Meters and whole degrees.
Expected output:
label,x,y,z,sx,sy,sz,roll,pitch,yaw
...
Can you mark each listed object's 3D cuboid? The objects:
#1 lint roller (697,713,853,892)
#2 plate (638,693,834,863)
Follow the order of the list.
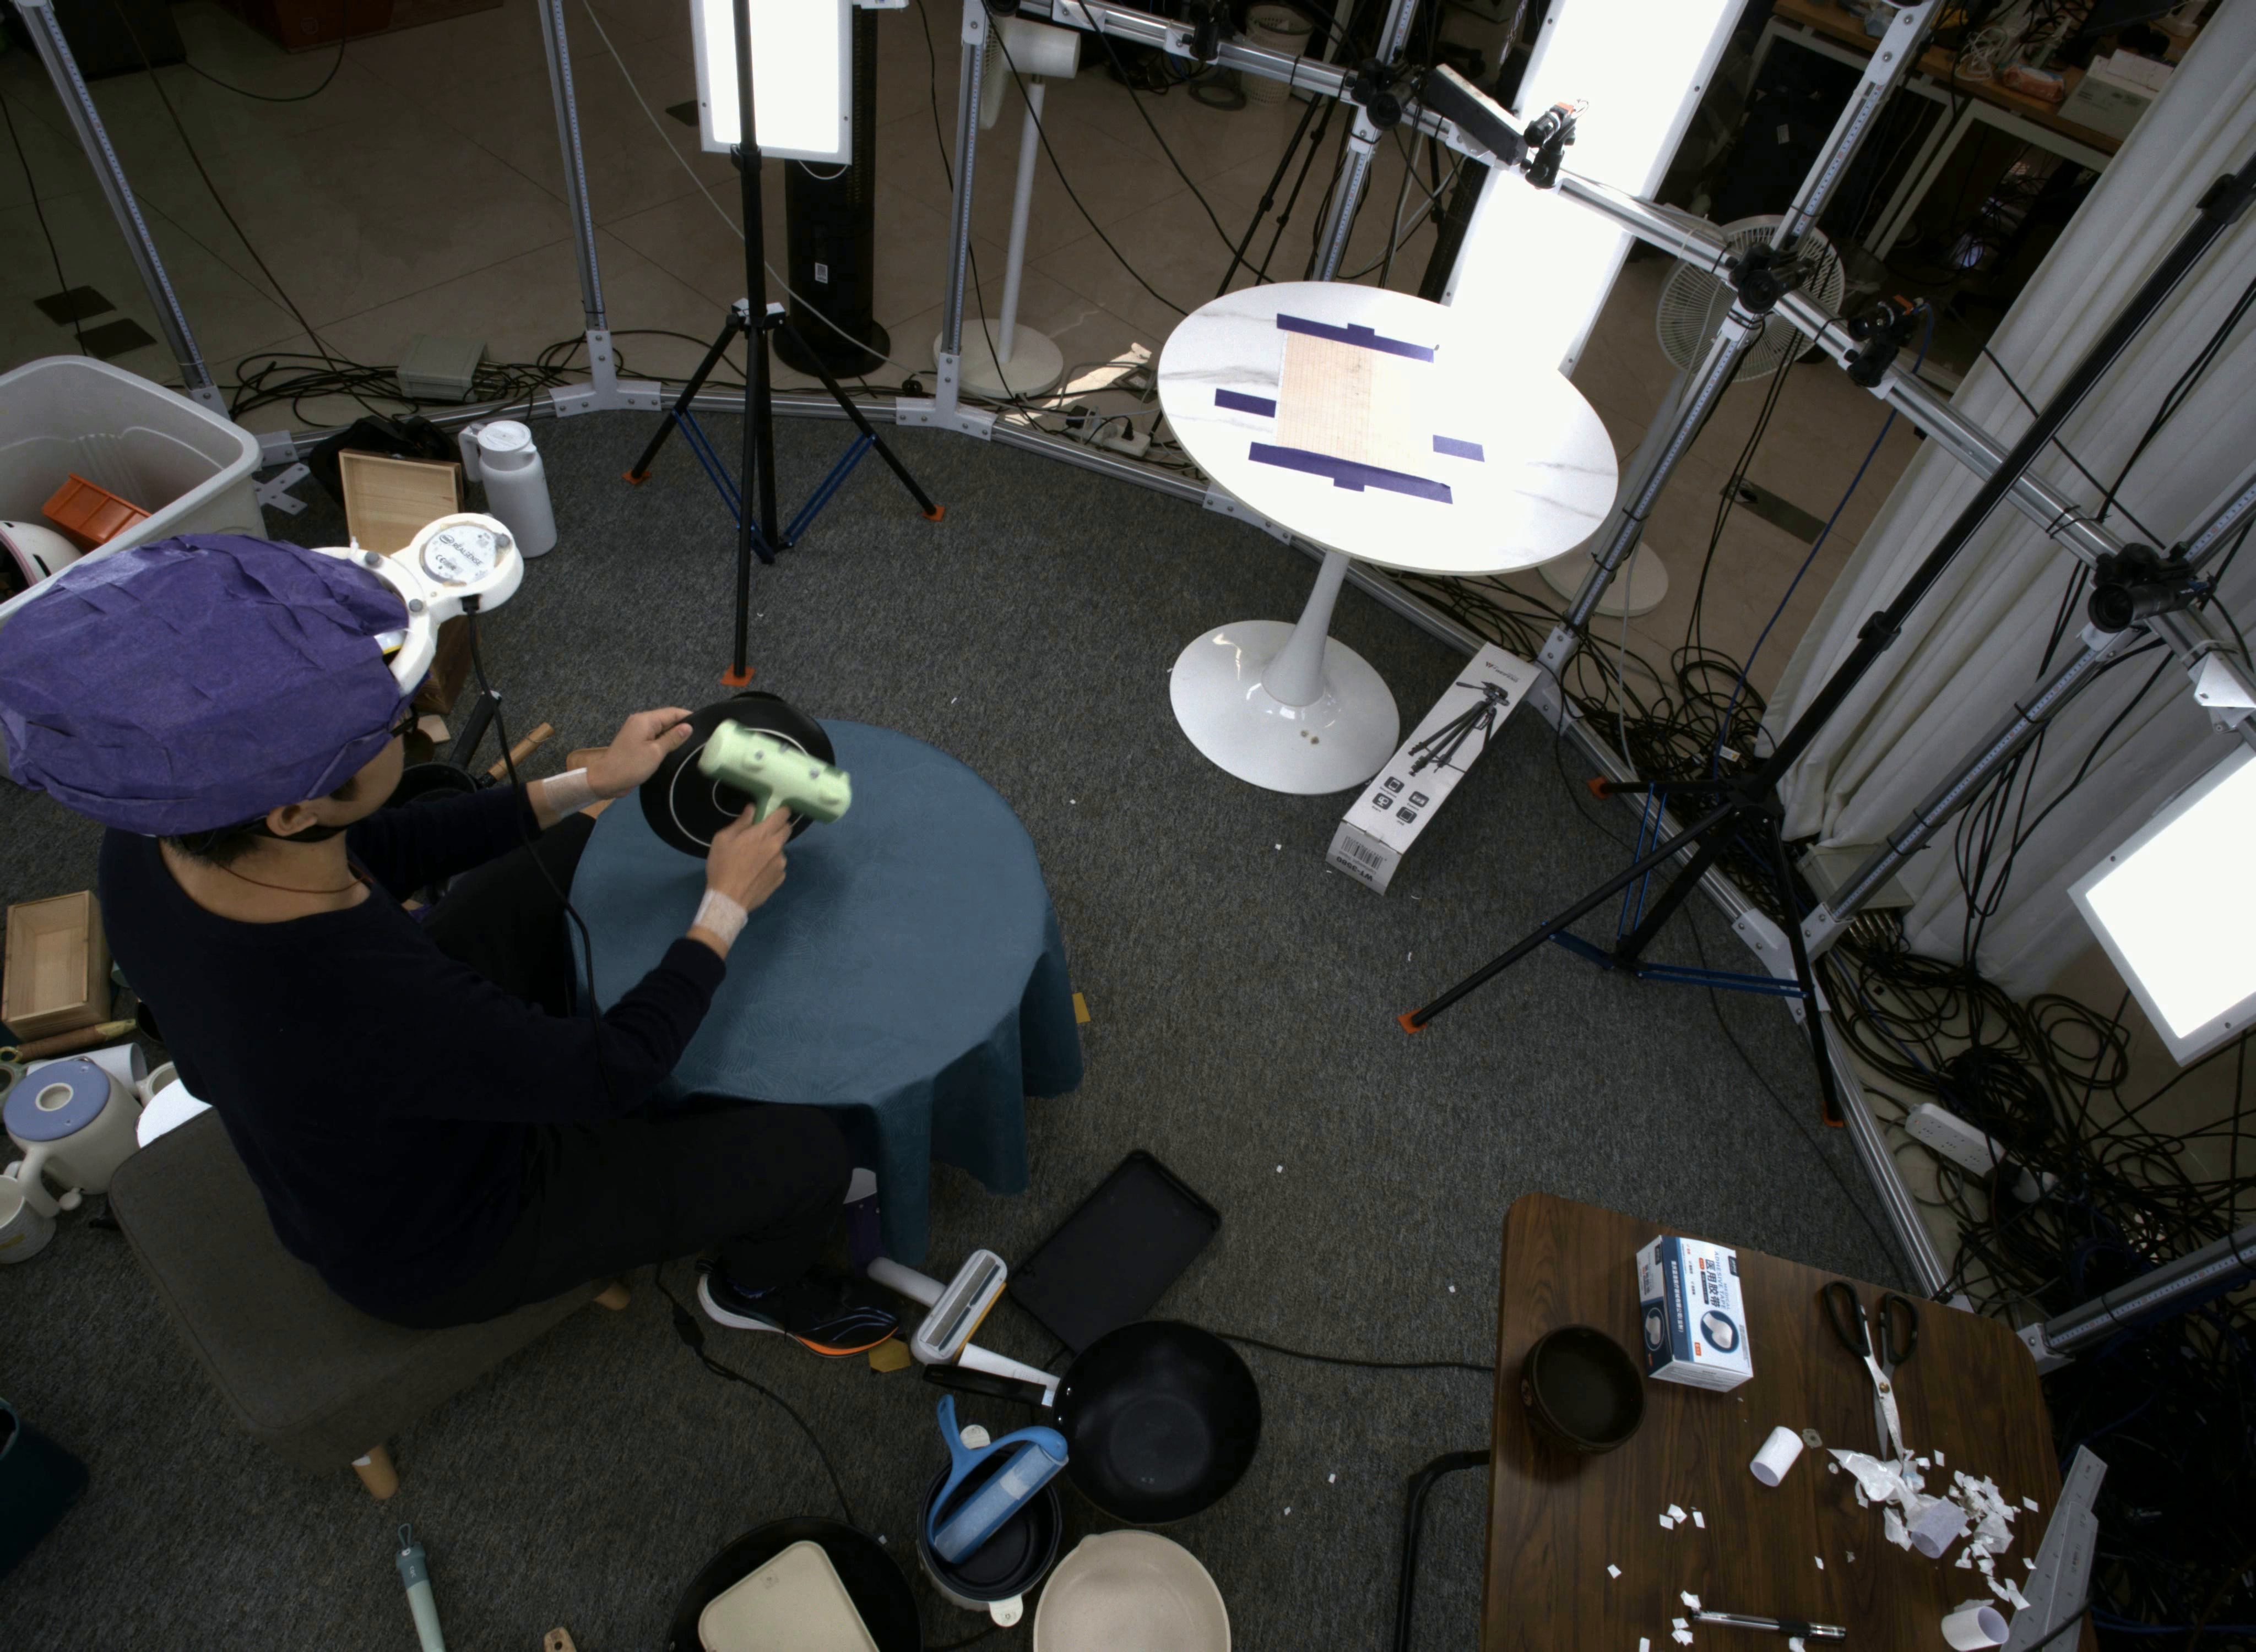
label,x,y,z,sx,sy,sz,roll,pitch,yaw
lint roller,-0.421,-0.016,1.534,0.205,0.080,0.182,27,63,-46
plate,-0.475,-0.051,1.582,0.245,0.252,0.022,-15,43,-24
